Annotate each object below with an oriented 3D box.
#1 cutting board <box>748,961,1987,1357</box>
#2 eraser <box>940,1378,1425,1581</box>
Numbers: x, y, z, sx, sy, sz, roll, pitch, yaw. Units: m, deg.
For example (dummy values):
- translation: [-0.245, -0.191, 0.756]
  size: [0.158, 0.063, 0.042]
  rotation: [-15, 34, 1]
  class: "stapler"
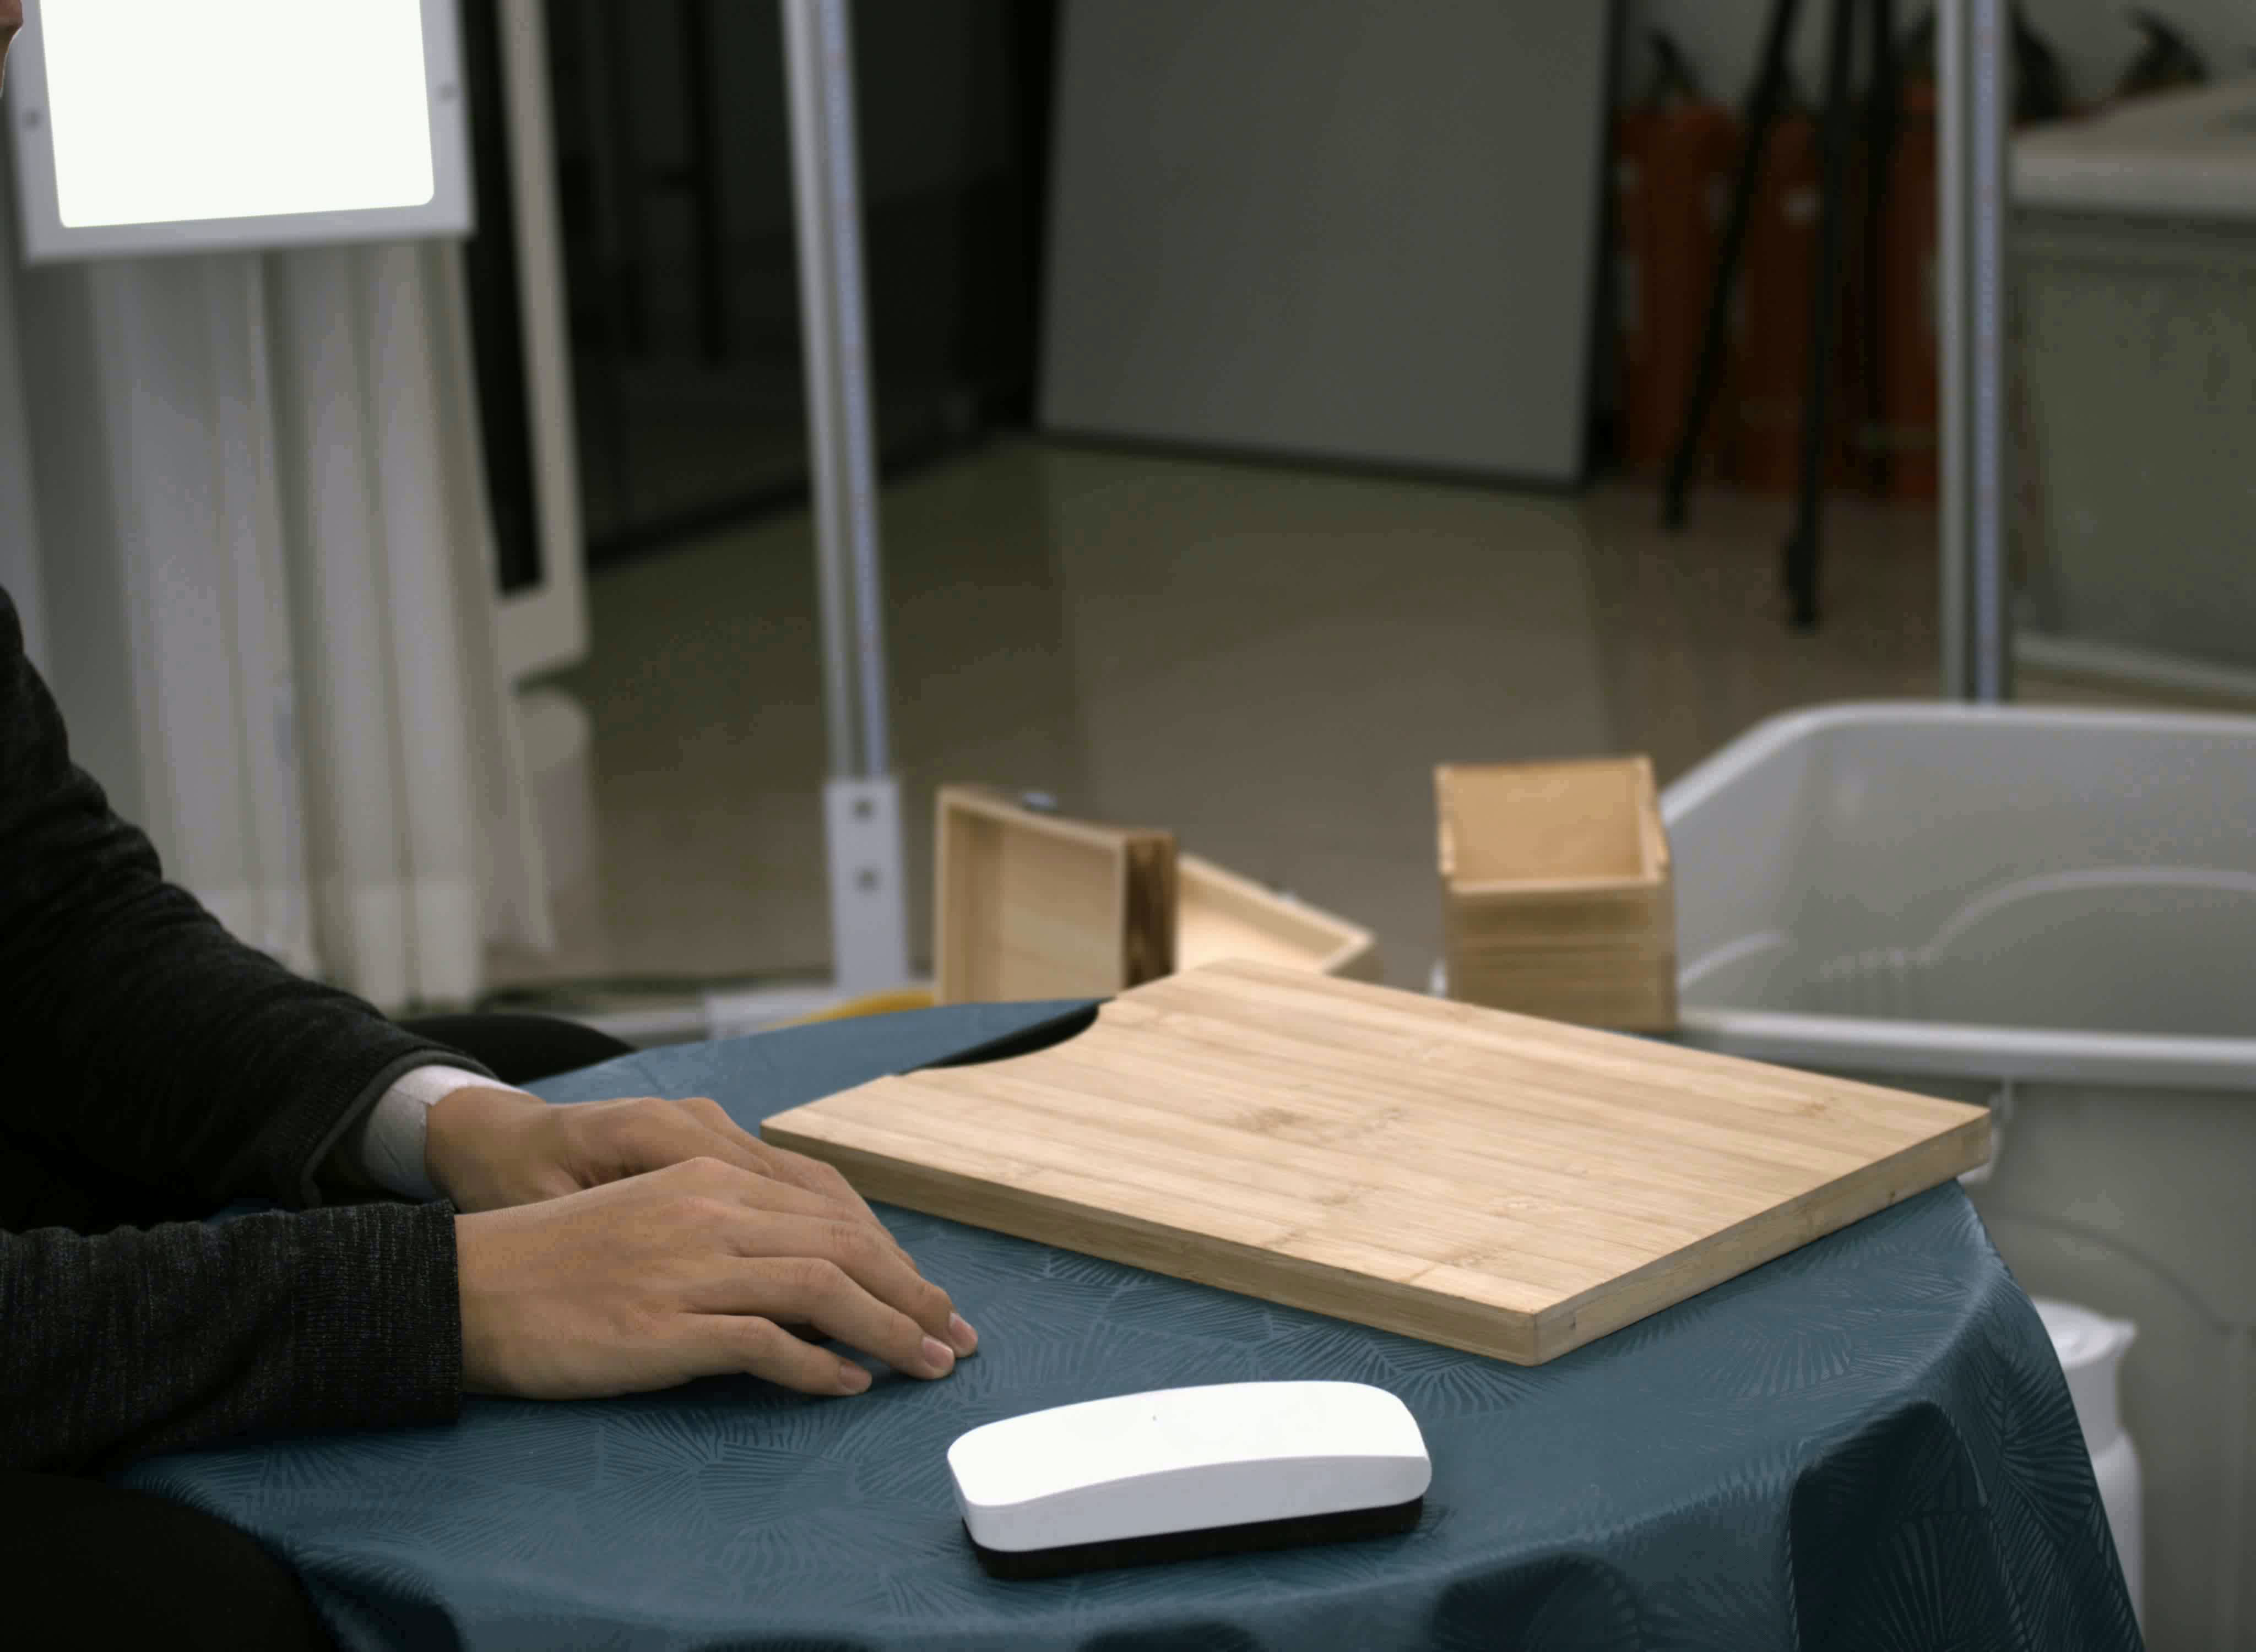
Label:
- translation: [0.075, 0.104, 1.781]
  size: [0.352, 0.024, 0.245]
  rotation: [9, 19, 43]
  class: "cutting board"
- translation: [0.015, 0.176, 1.475]
  size: [0.129, 0.035, 0.064]
  rotation: [-5, 14, -7]
  class: "eraser"
